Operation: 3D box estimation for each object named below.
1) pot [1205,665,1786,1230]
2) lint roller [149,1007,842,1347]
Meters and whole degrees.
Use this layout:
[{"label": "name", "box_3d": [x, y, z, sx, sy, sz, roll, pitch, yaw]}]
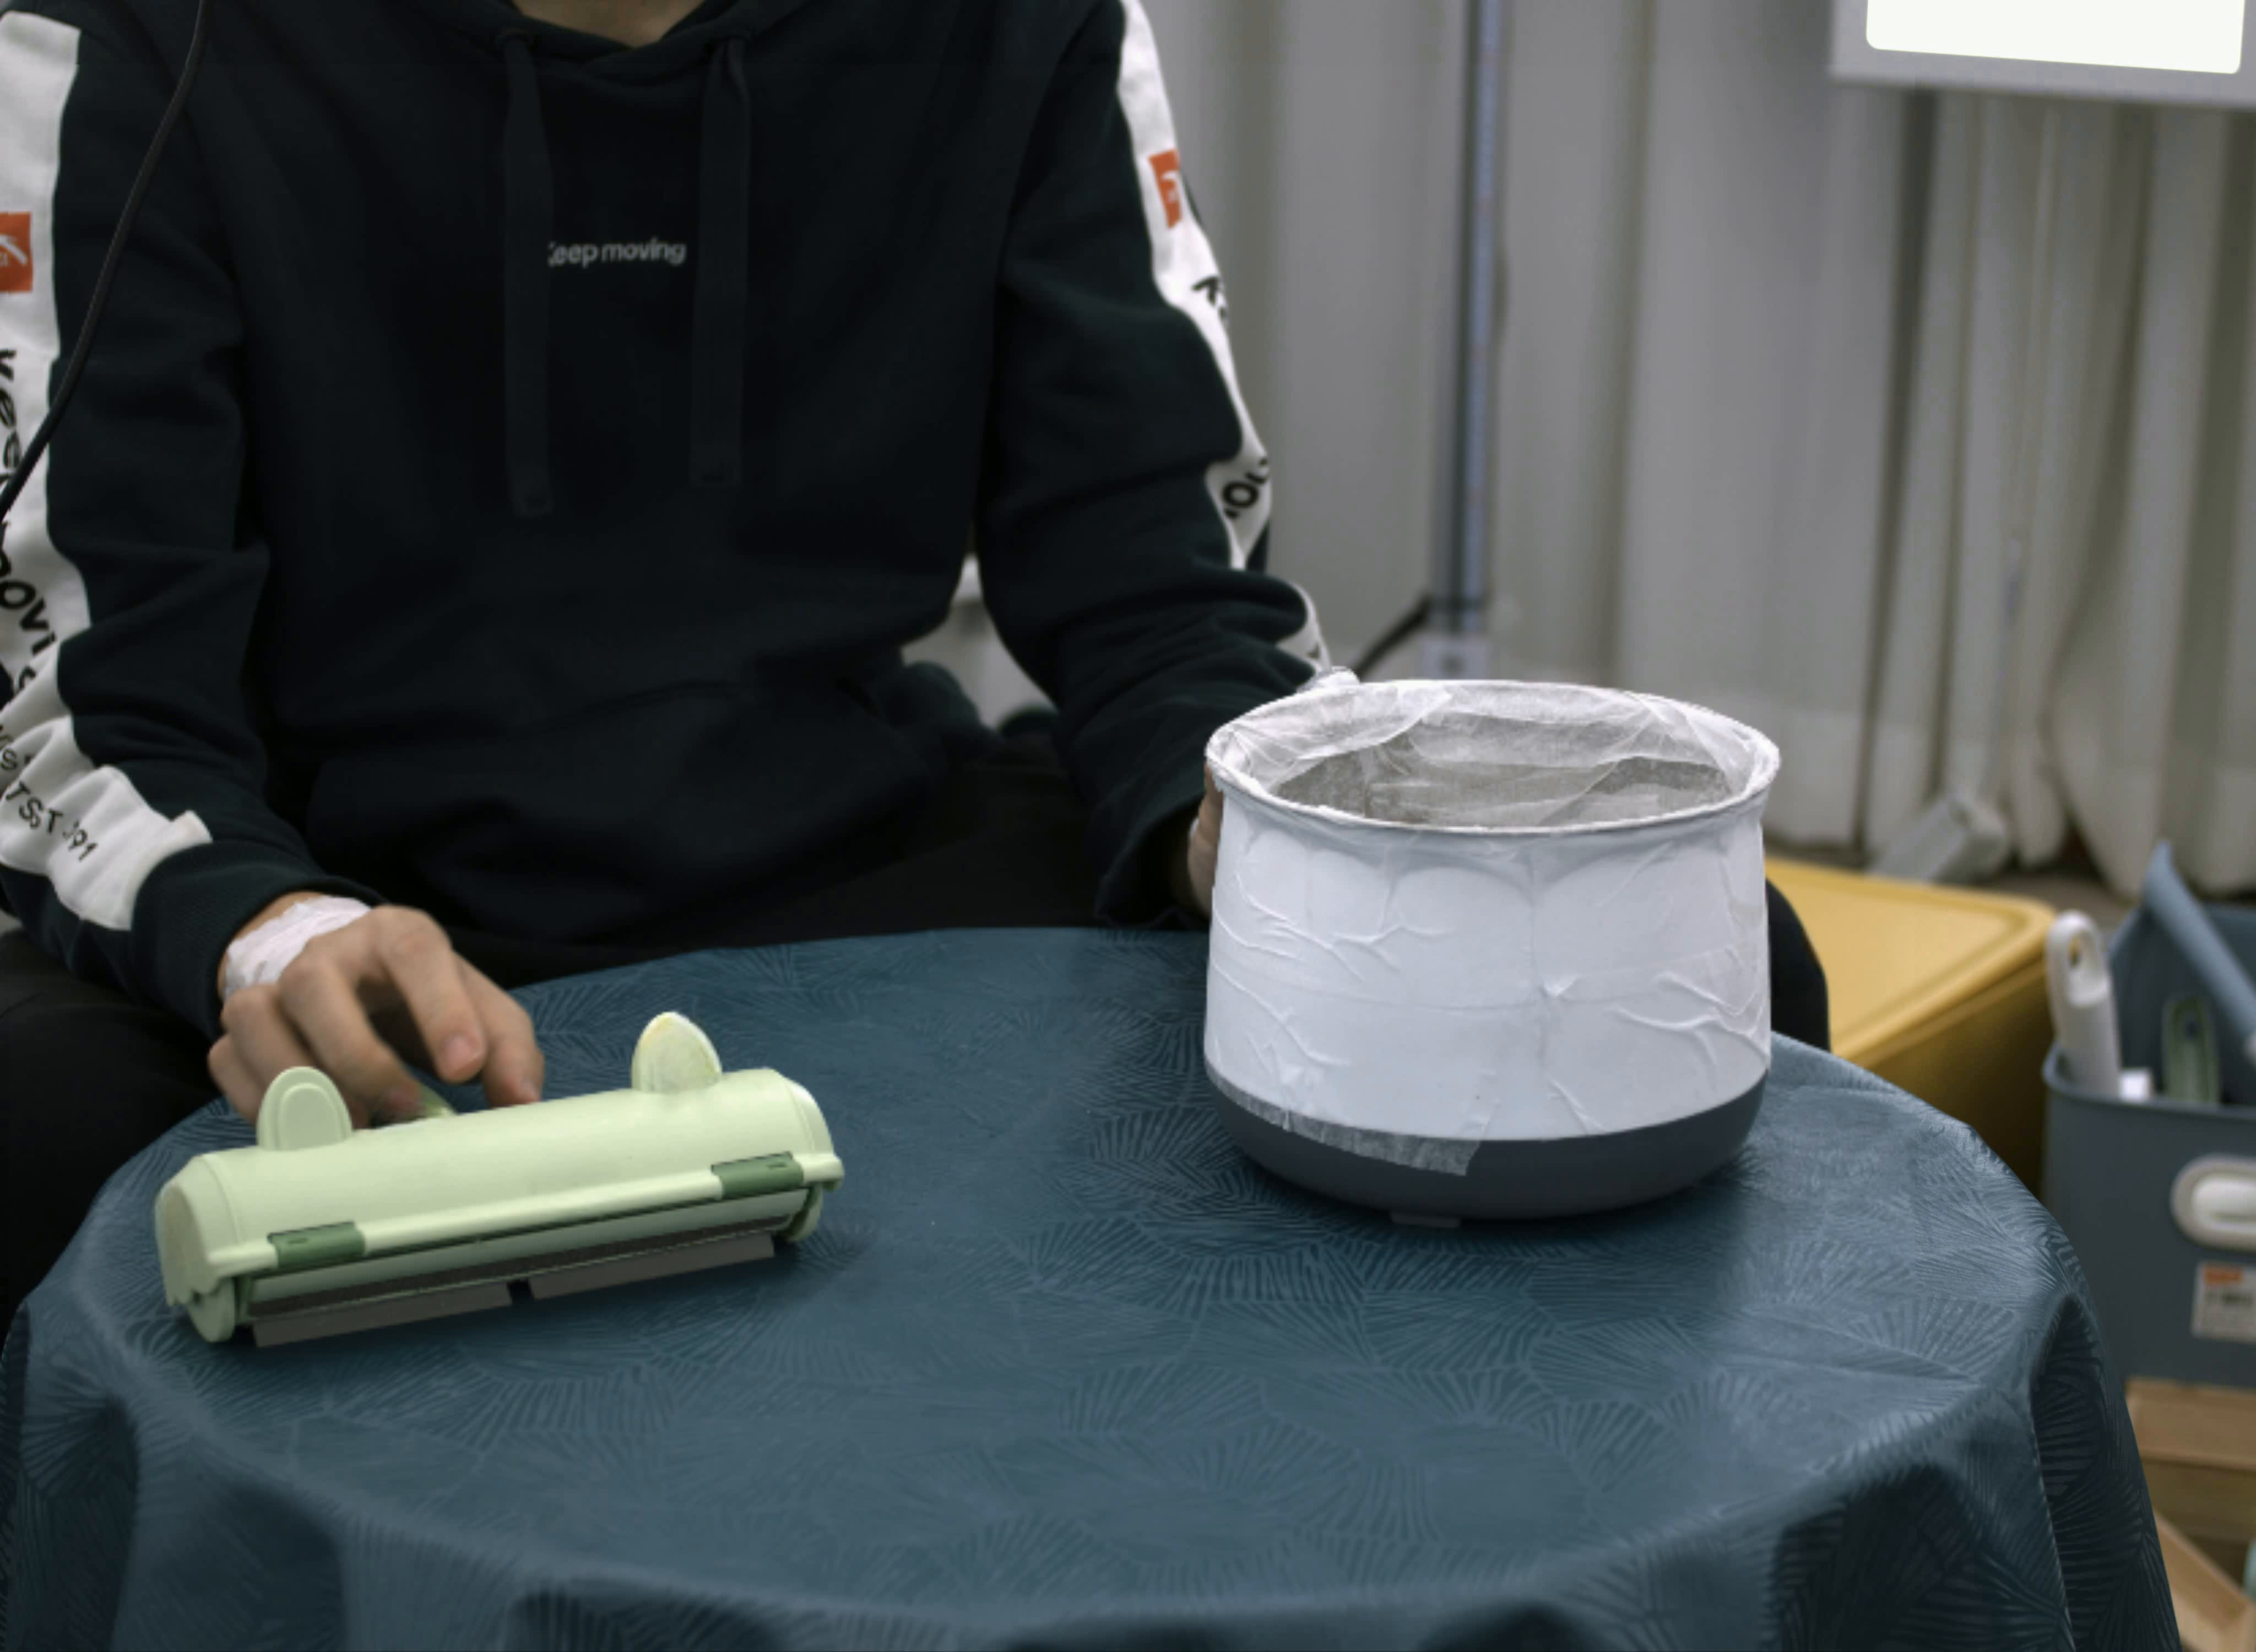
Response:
[{"label": "pot", "box_3d": [0.100, 0.032, 1.657, 0.179, 0.138, 0.231, -7, 18, -27]}, {"label": "lint roller", "box_3d": [-0.208, 0.085, 1.570, 0.199, 0.083, 0.181, -8, 23, -27]}]
